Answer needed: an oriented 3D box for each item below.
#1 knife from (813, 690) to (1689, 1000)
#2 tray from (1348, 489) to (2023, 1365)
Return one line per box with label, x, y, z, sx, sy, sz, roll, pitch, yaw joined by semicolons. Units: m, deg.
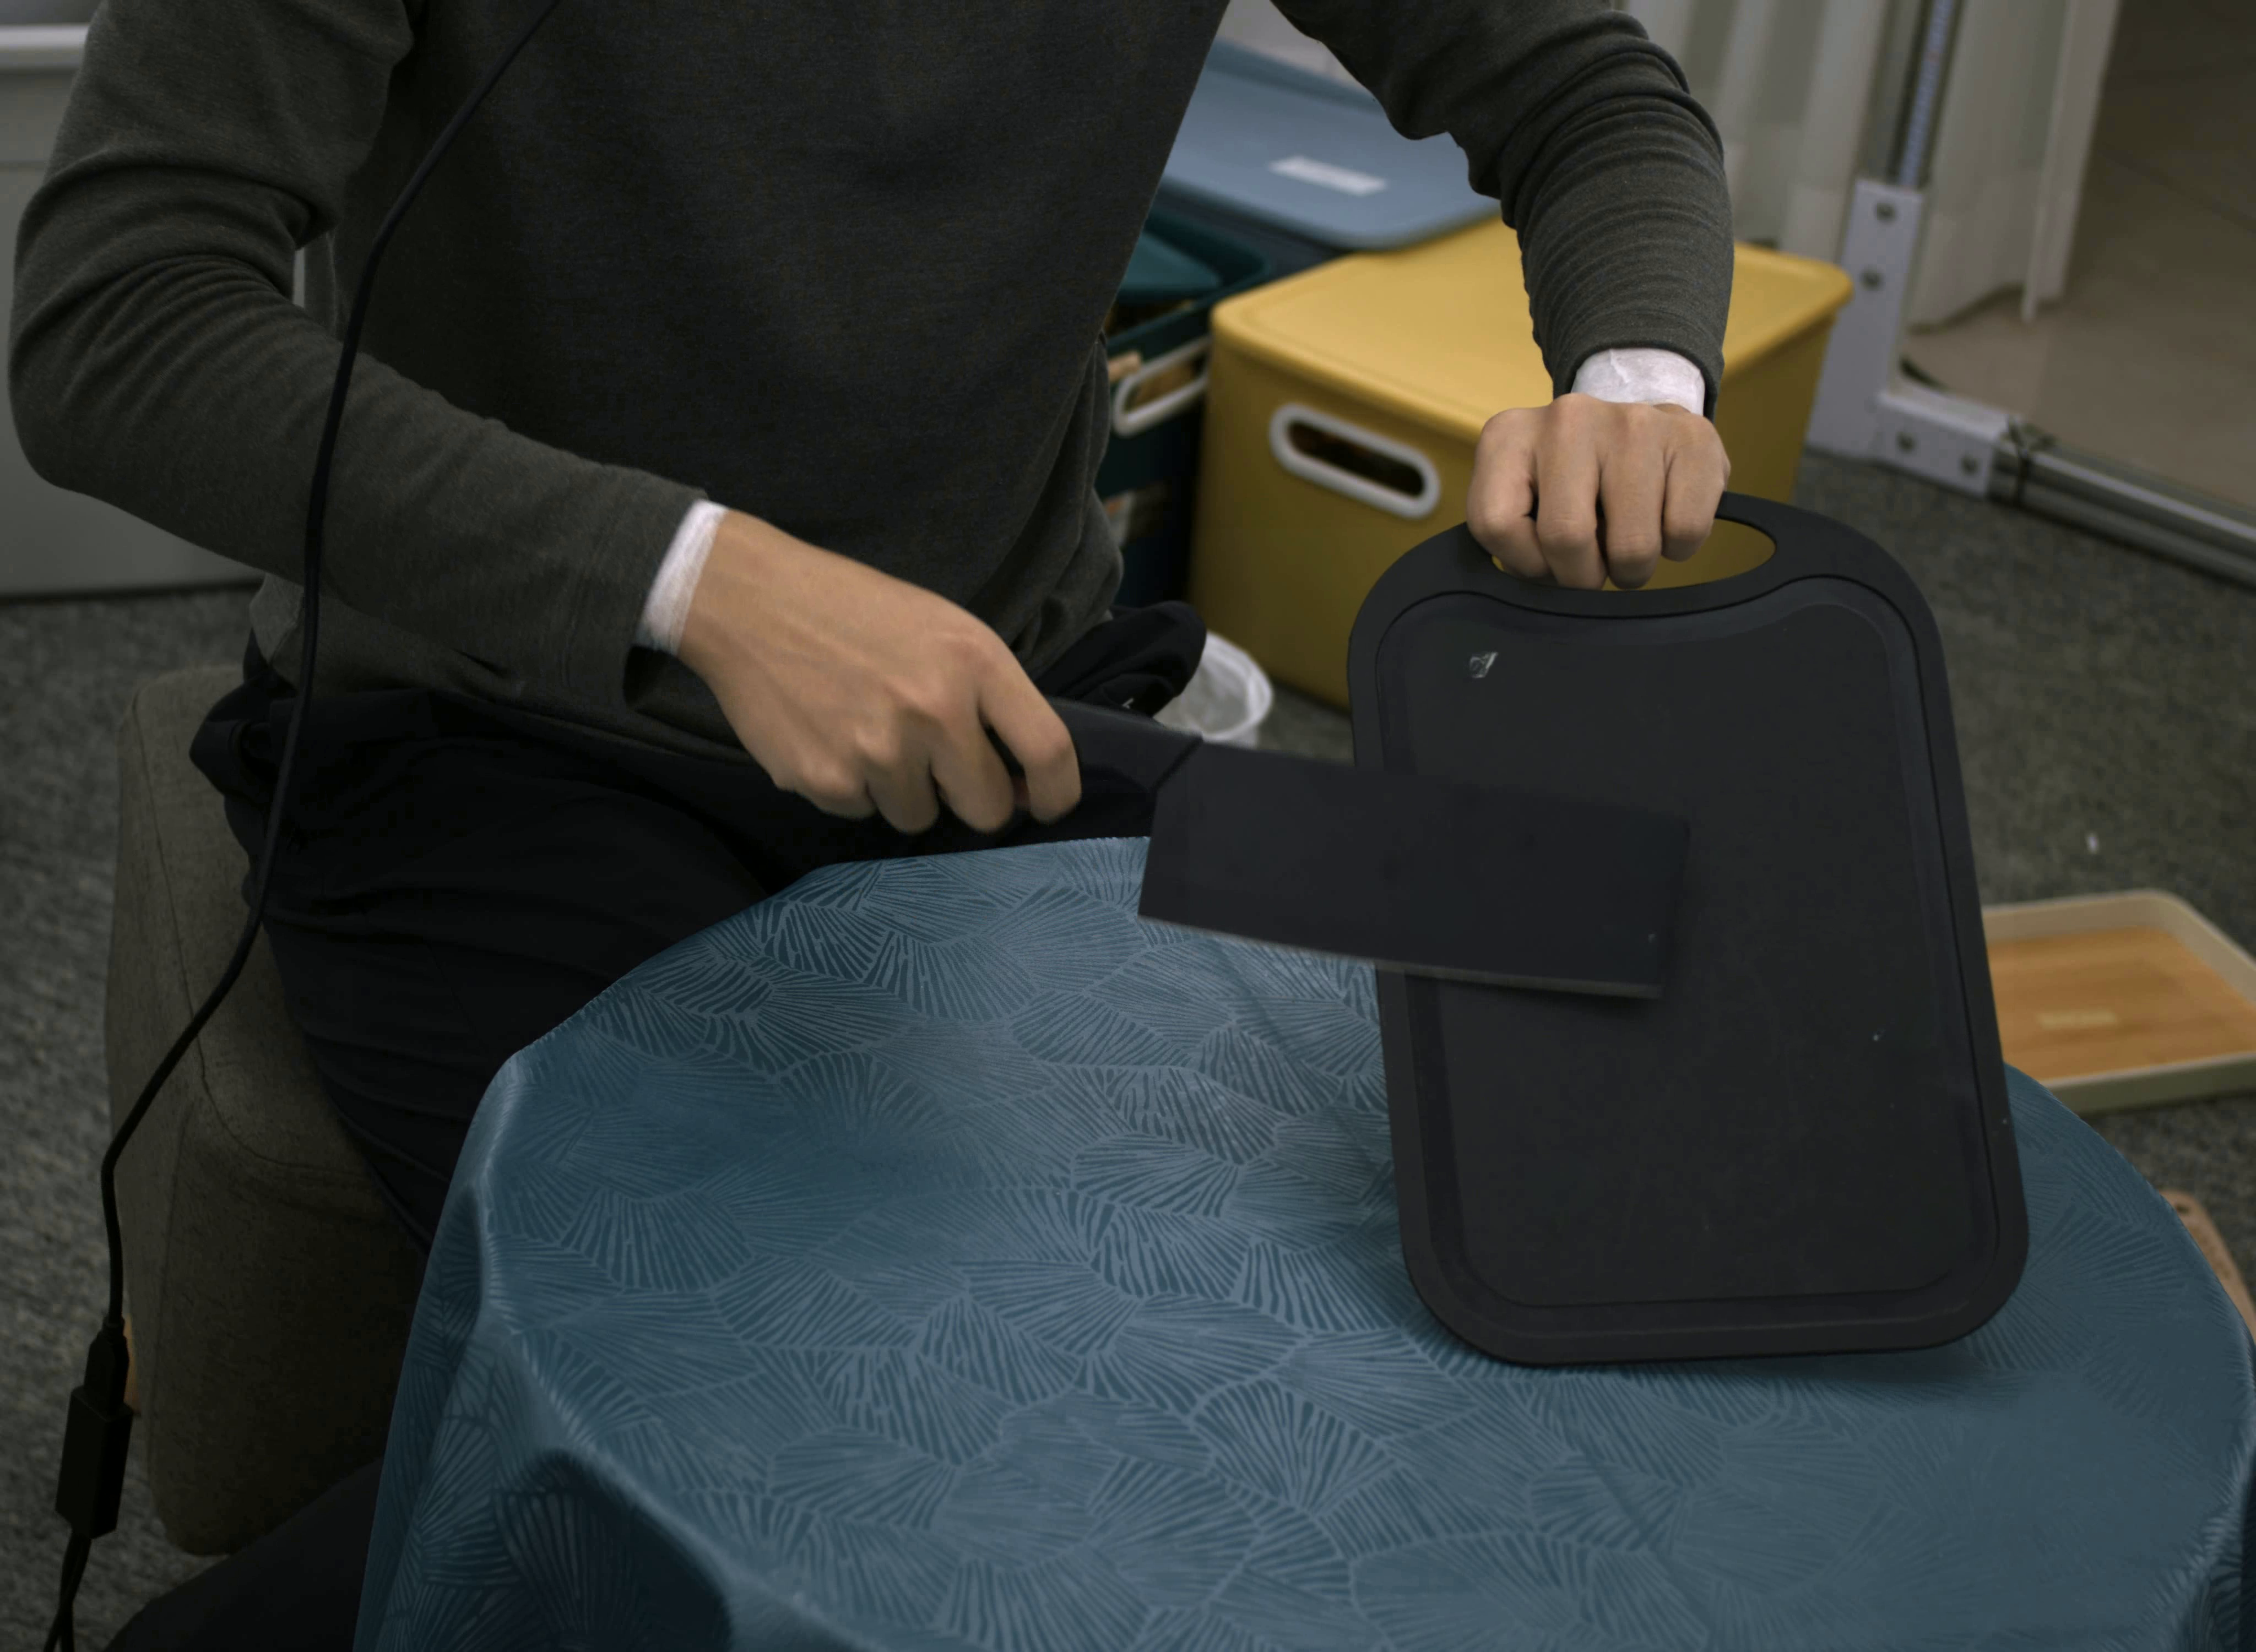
knife;0.039;0.004;1.806;0.302;0.081;0.021;14;-10;10
tray;0.185;0.027;1.806;0.210;0.010;0.328;-2;64;-3
